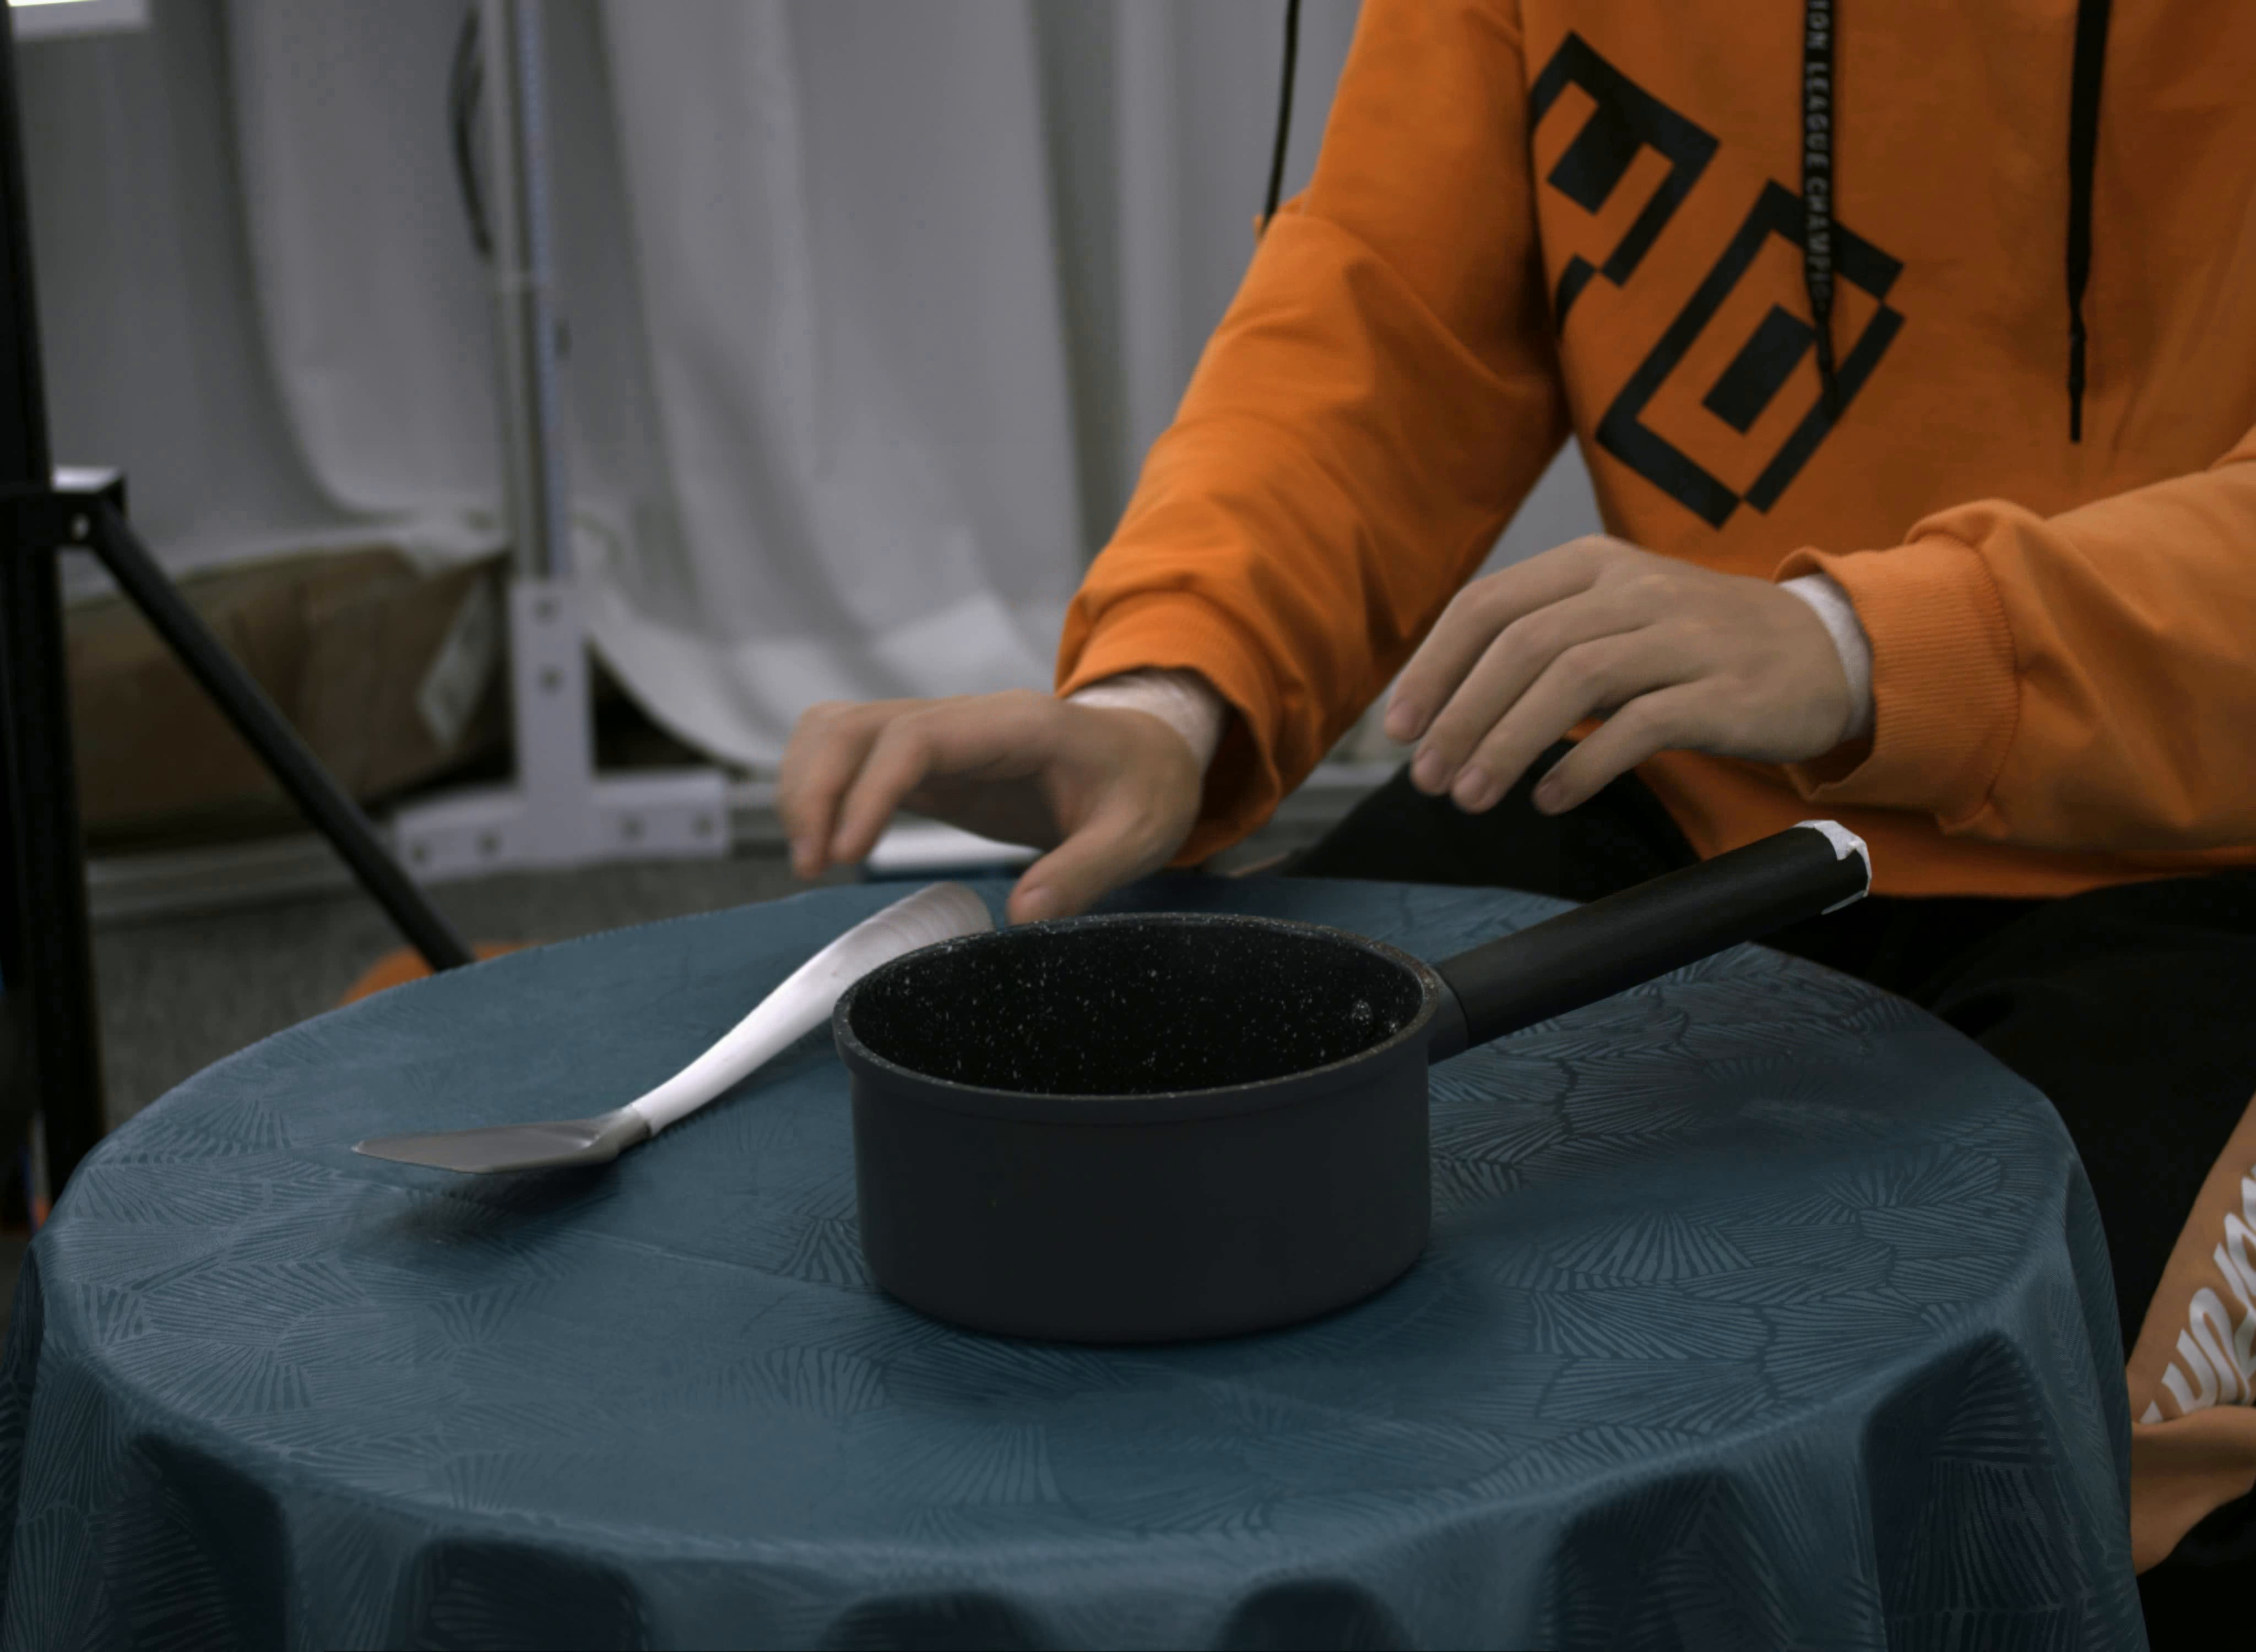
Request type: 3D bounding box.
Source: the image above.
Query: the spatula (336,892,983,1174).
[{"bbox_3d":[-0.135,0.071,1.653,0.060,0.032,0.282,12,20,30],"label":"spatula"}]

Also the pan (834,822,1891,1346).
[{"bbox_3d":[0.075,0.069,1.528,0.322,0.086,0.175,-11,19,-22],"label":"pan"}]
